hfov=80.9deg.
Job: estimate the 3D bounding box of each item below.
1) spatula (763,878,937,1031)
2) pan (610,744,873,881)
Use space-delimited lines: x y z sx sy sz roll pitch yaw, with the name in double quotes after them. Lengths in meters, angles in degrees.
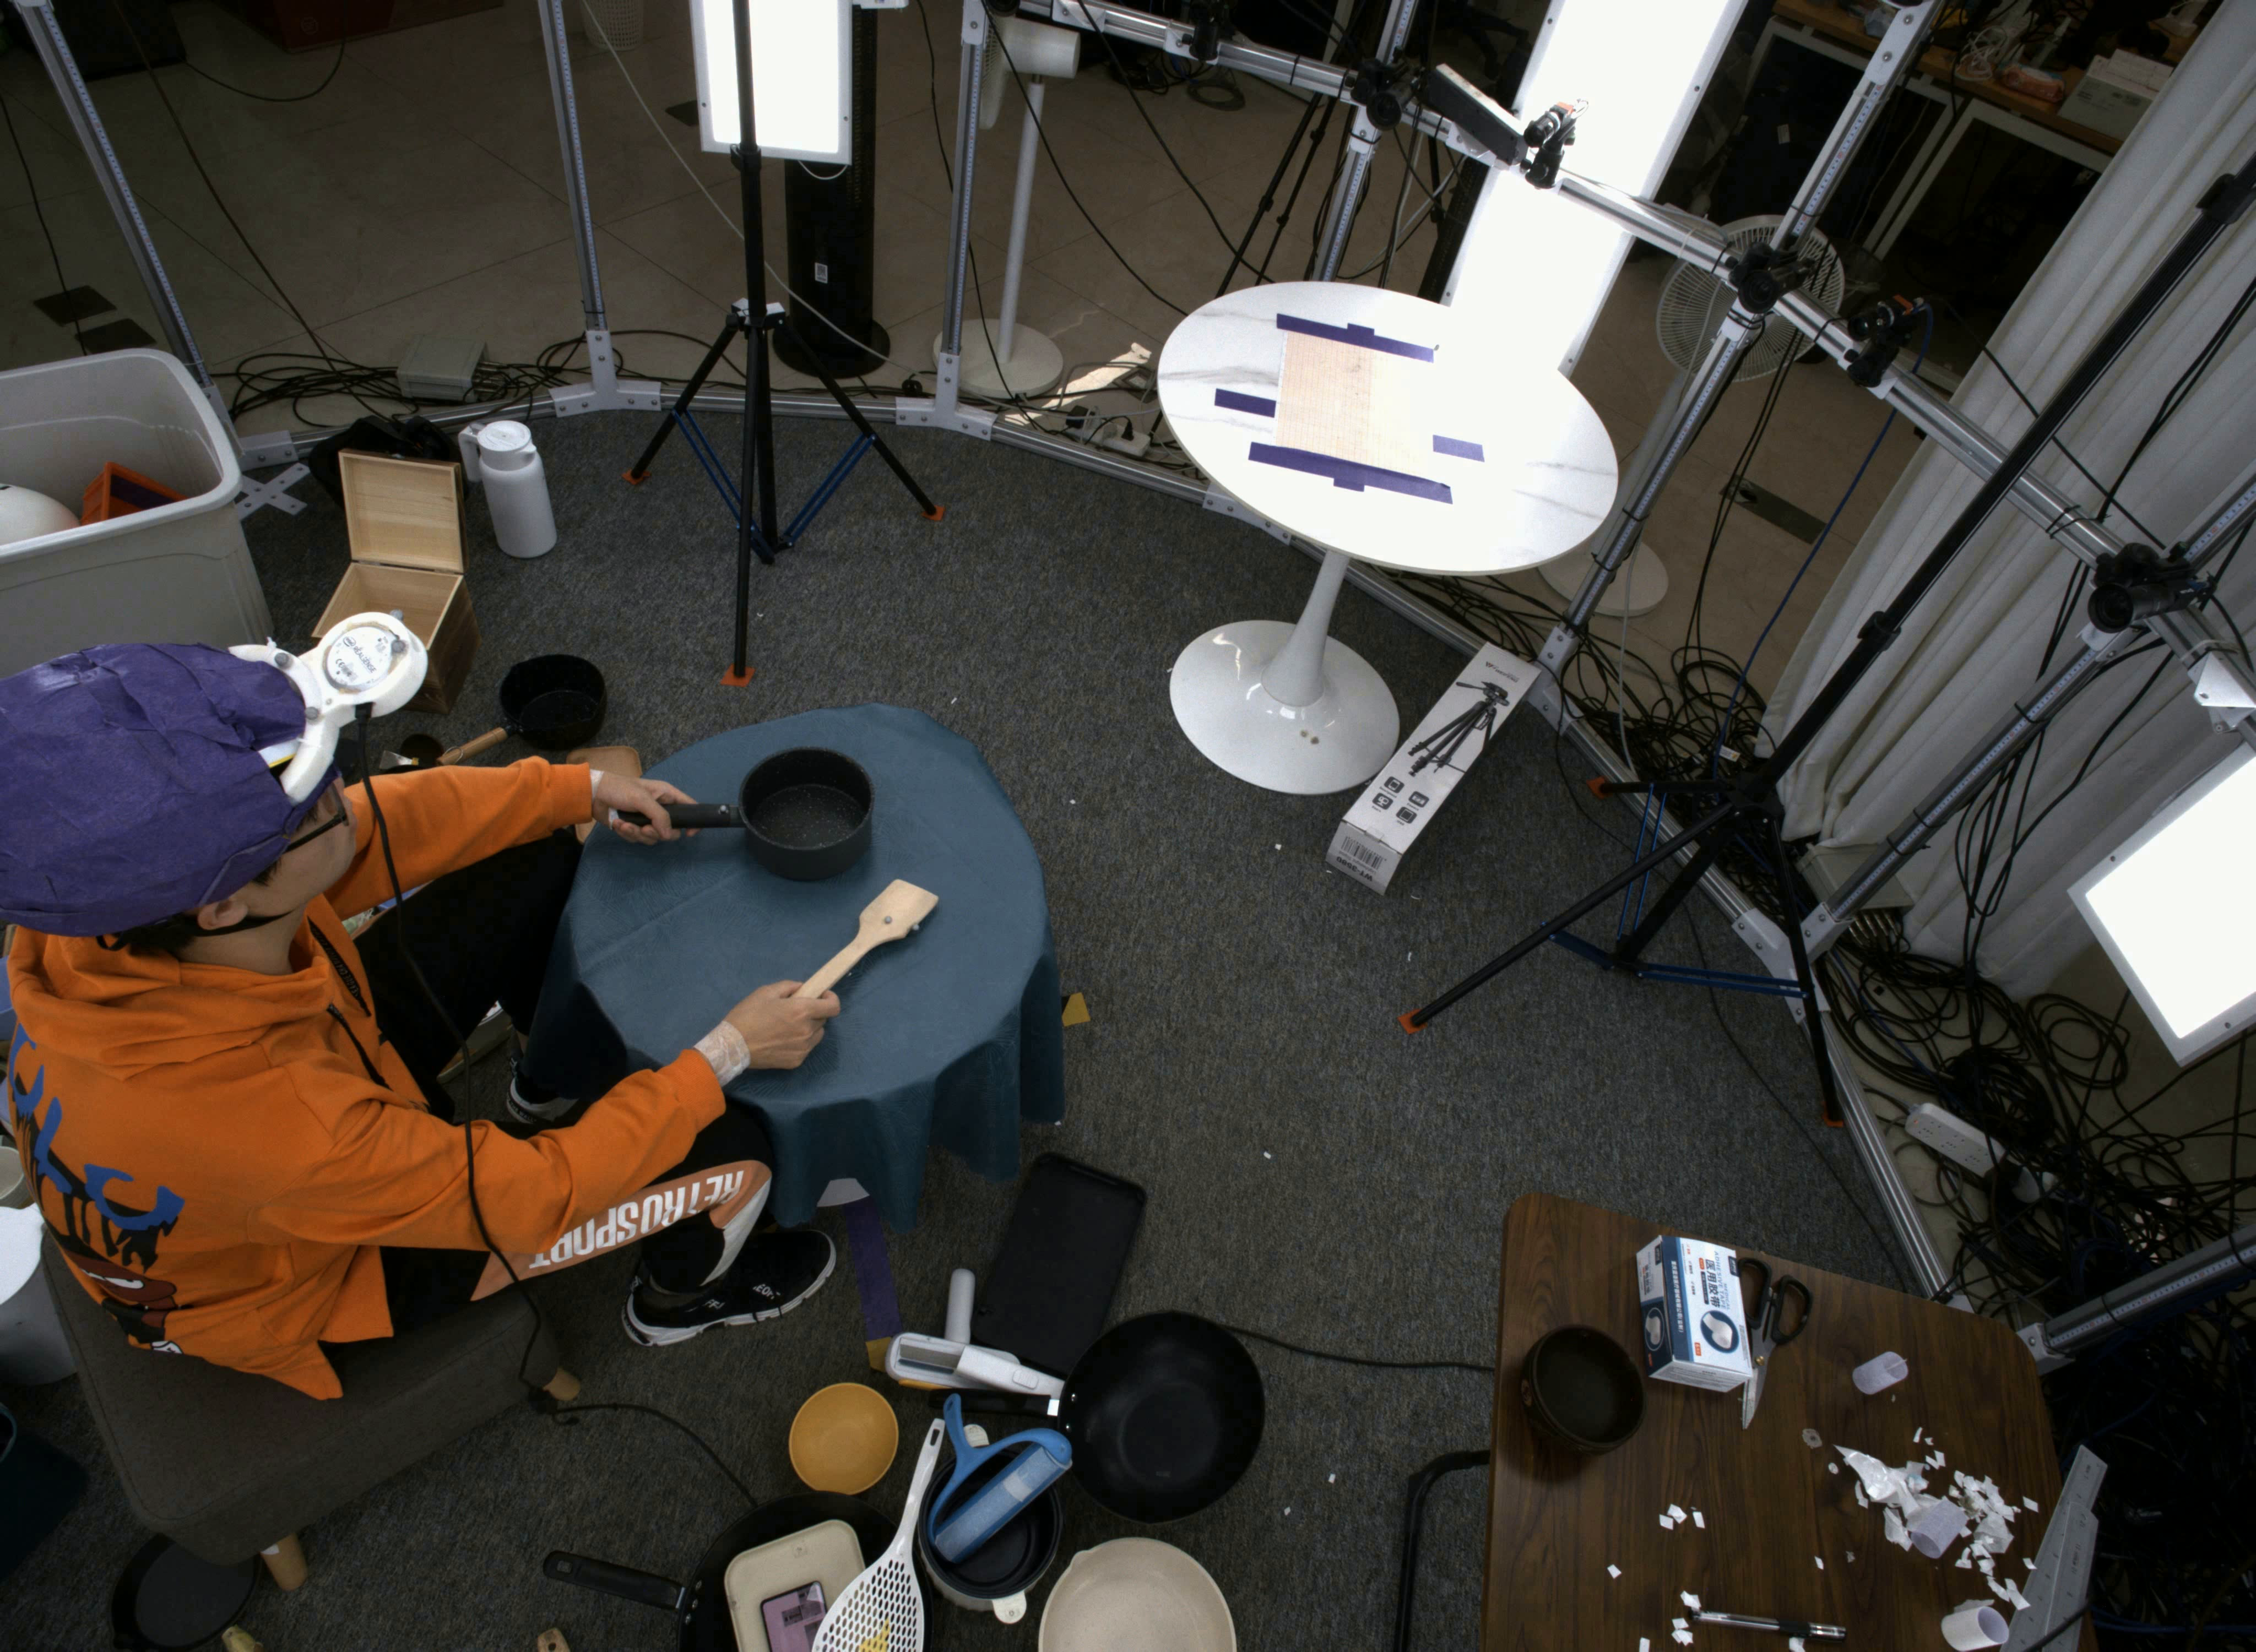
-0.340 0.154 1.583 0.070 0.011 0.292 22 41 18 "spatula"
-0.492 -0.011 1.650 0.330 0.088 0.168 -4 53 -17 "pan"
